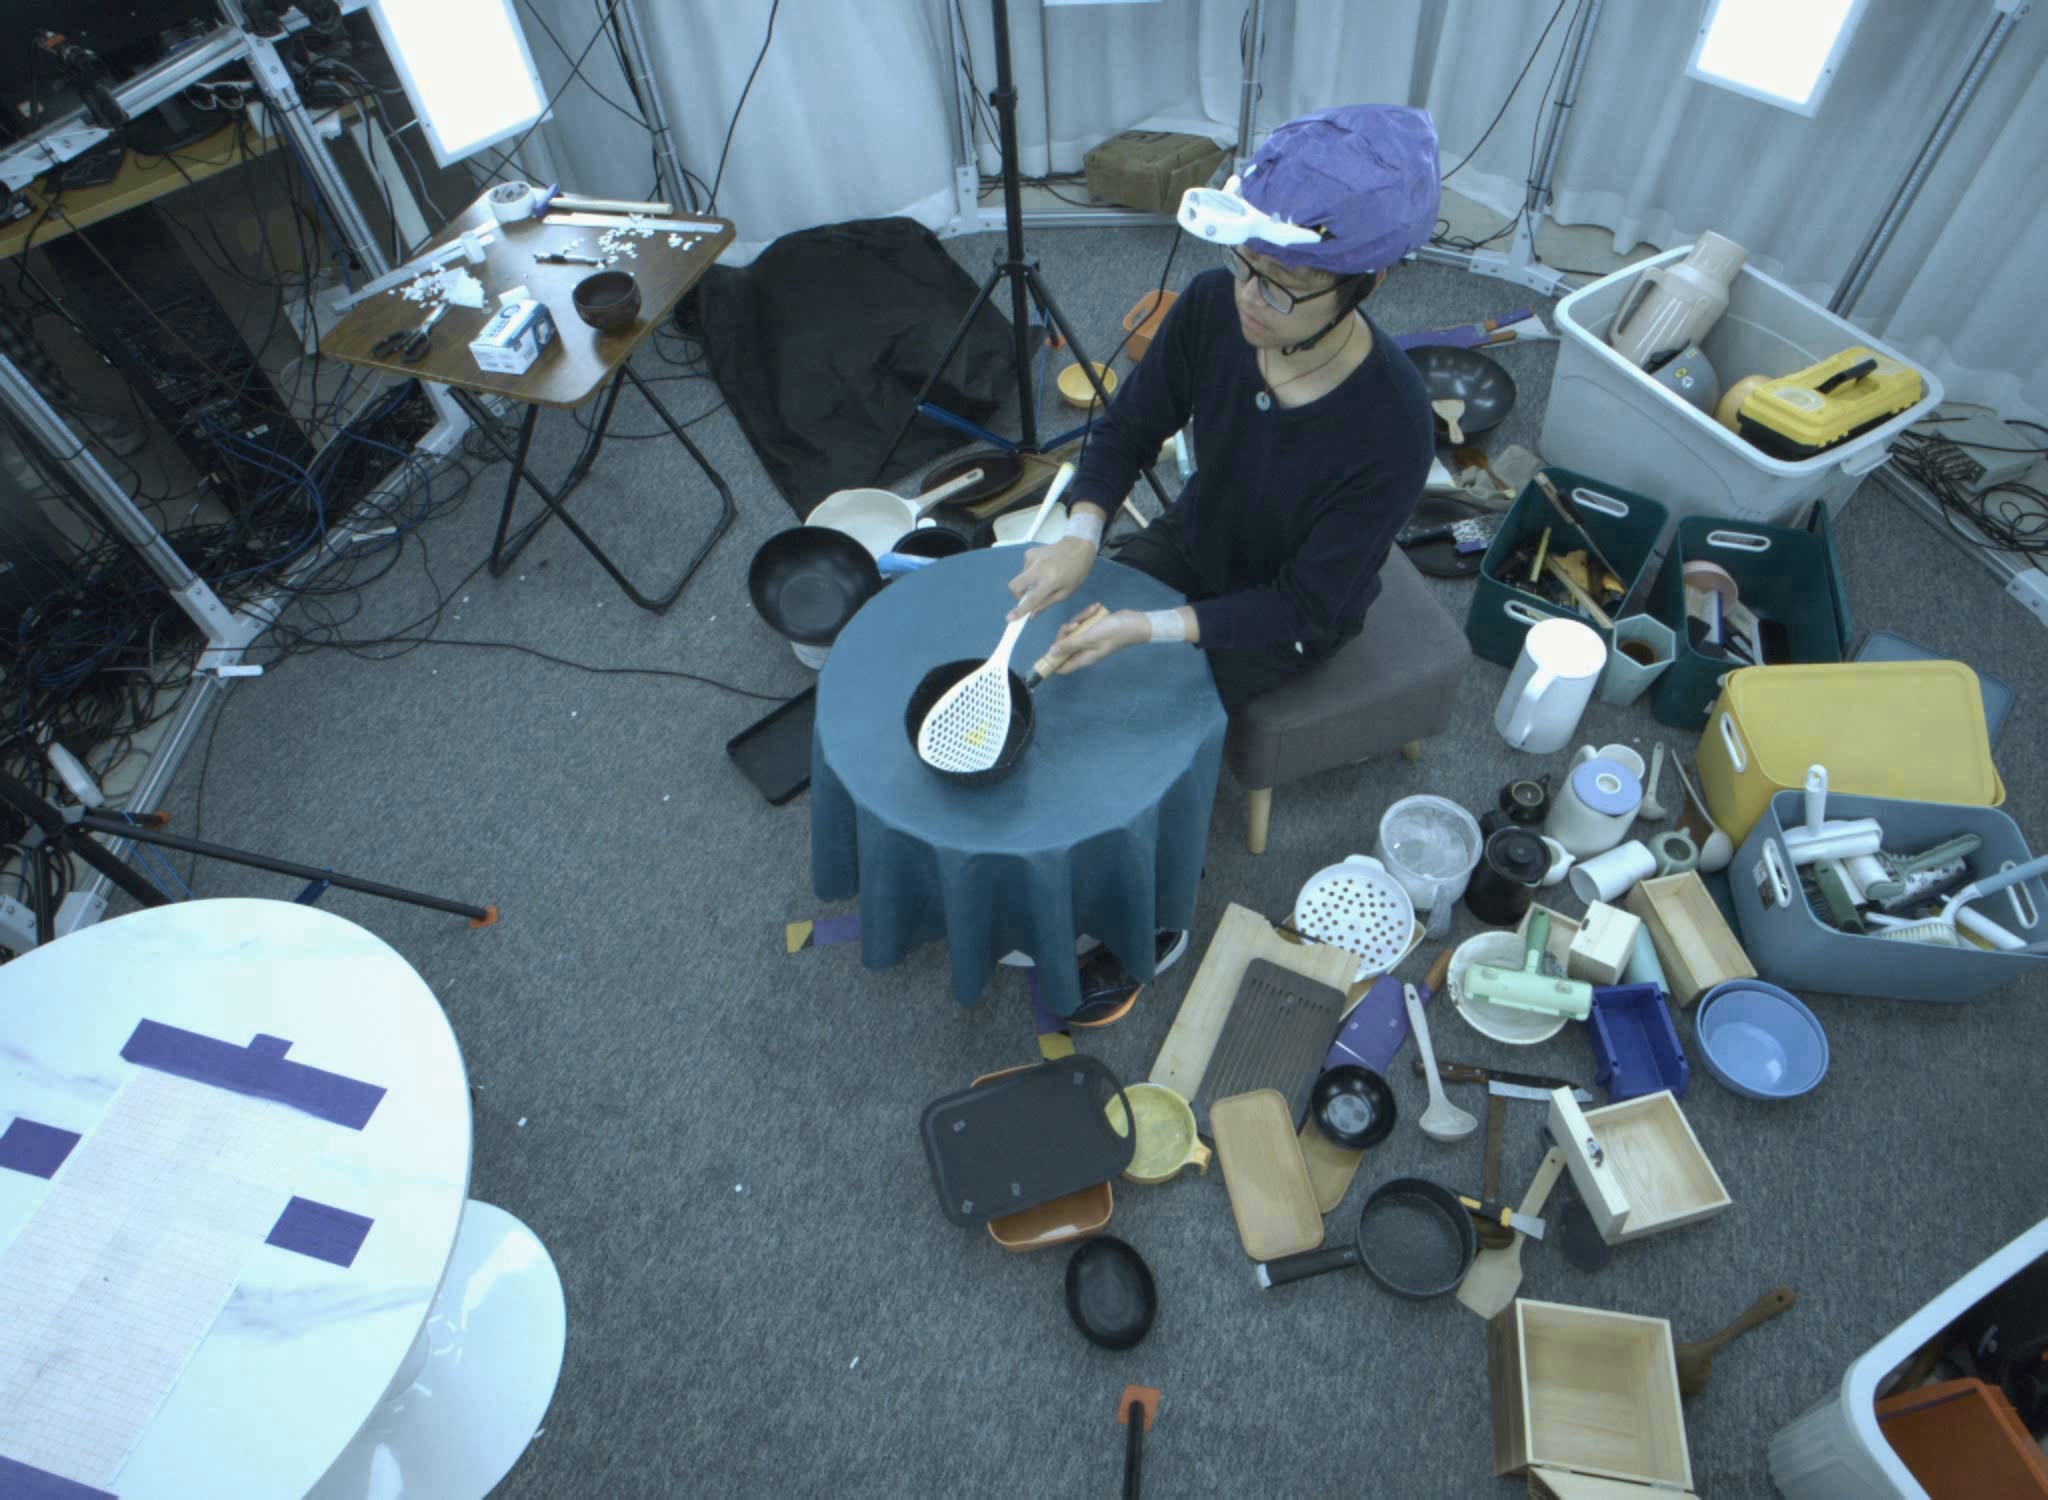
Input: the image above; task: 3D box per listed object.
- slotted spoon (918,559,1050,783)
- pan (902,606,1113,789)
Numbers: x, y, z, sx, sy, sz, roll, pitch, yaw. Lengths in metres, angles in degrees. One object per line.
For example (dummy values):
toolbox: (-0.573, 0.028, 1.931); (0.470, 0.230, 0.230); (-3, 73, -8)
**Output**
slotted spoon: (-0.037, -0.116, 1.743); (0.134, 0.051, 0.348); (22, 90, 27)
pan: (-0.011, -0.082, 1.751); (0.344, 0.110, 0.204); (-36, 63, -9)
